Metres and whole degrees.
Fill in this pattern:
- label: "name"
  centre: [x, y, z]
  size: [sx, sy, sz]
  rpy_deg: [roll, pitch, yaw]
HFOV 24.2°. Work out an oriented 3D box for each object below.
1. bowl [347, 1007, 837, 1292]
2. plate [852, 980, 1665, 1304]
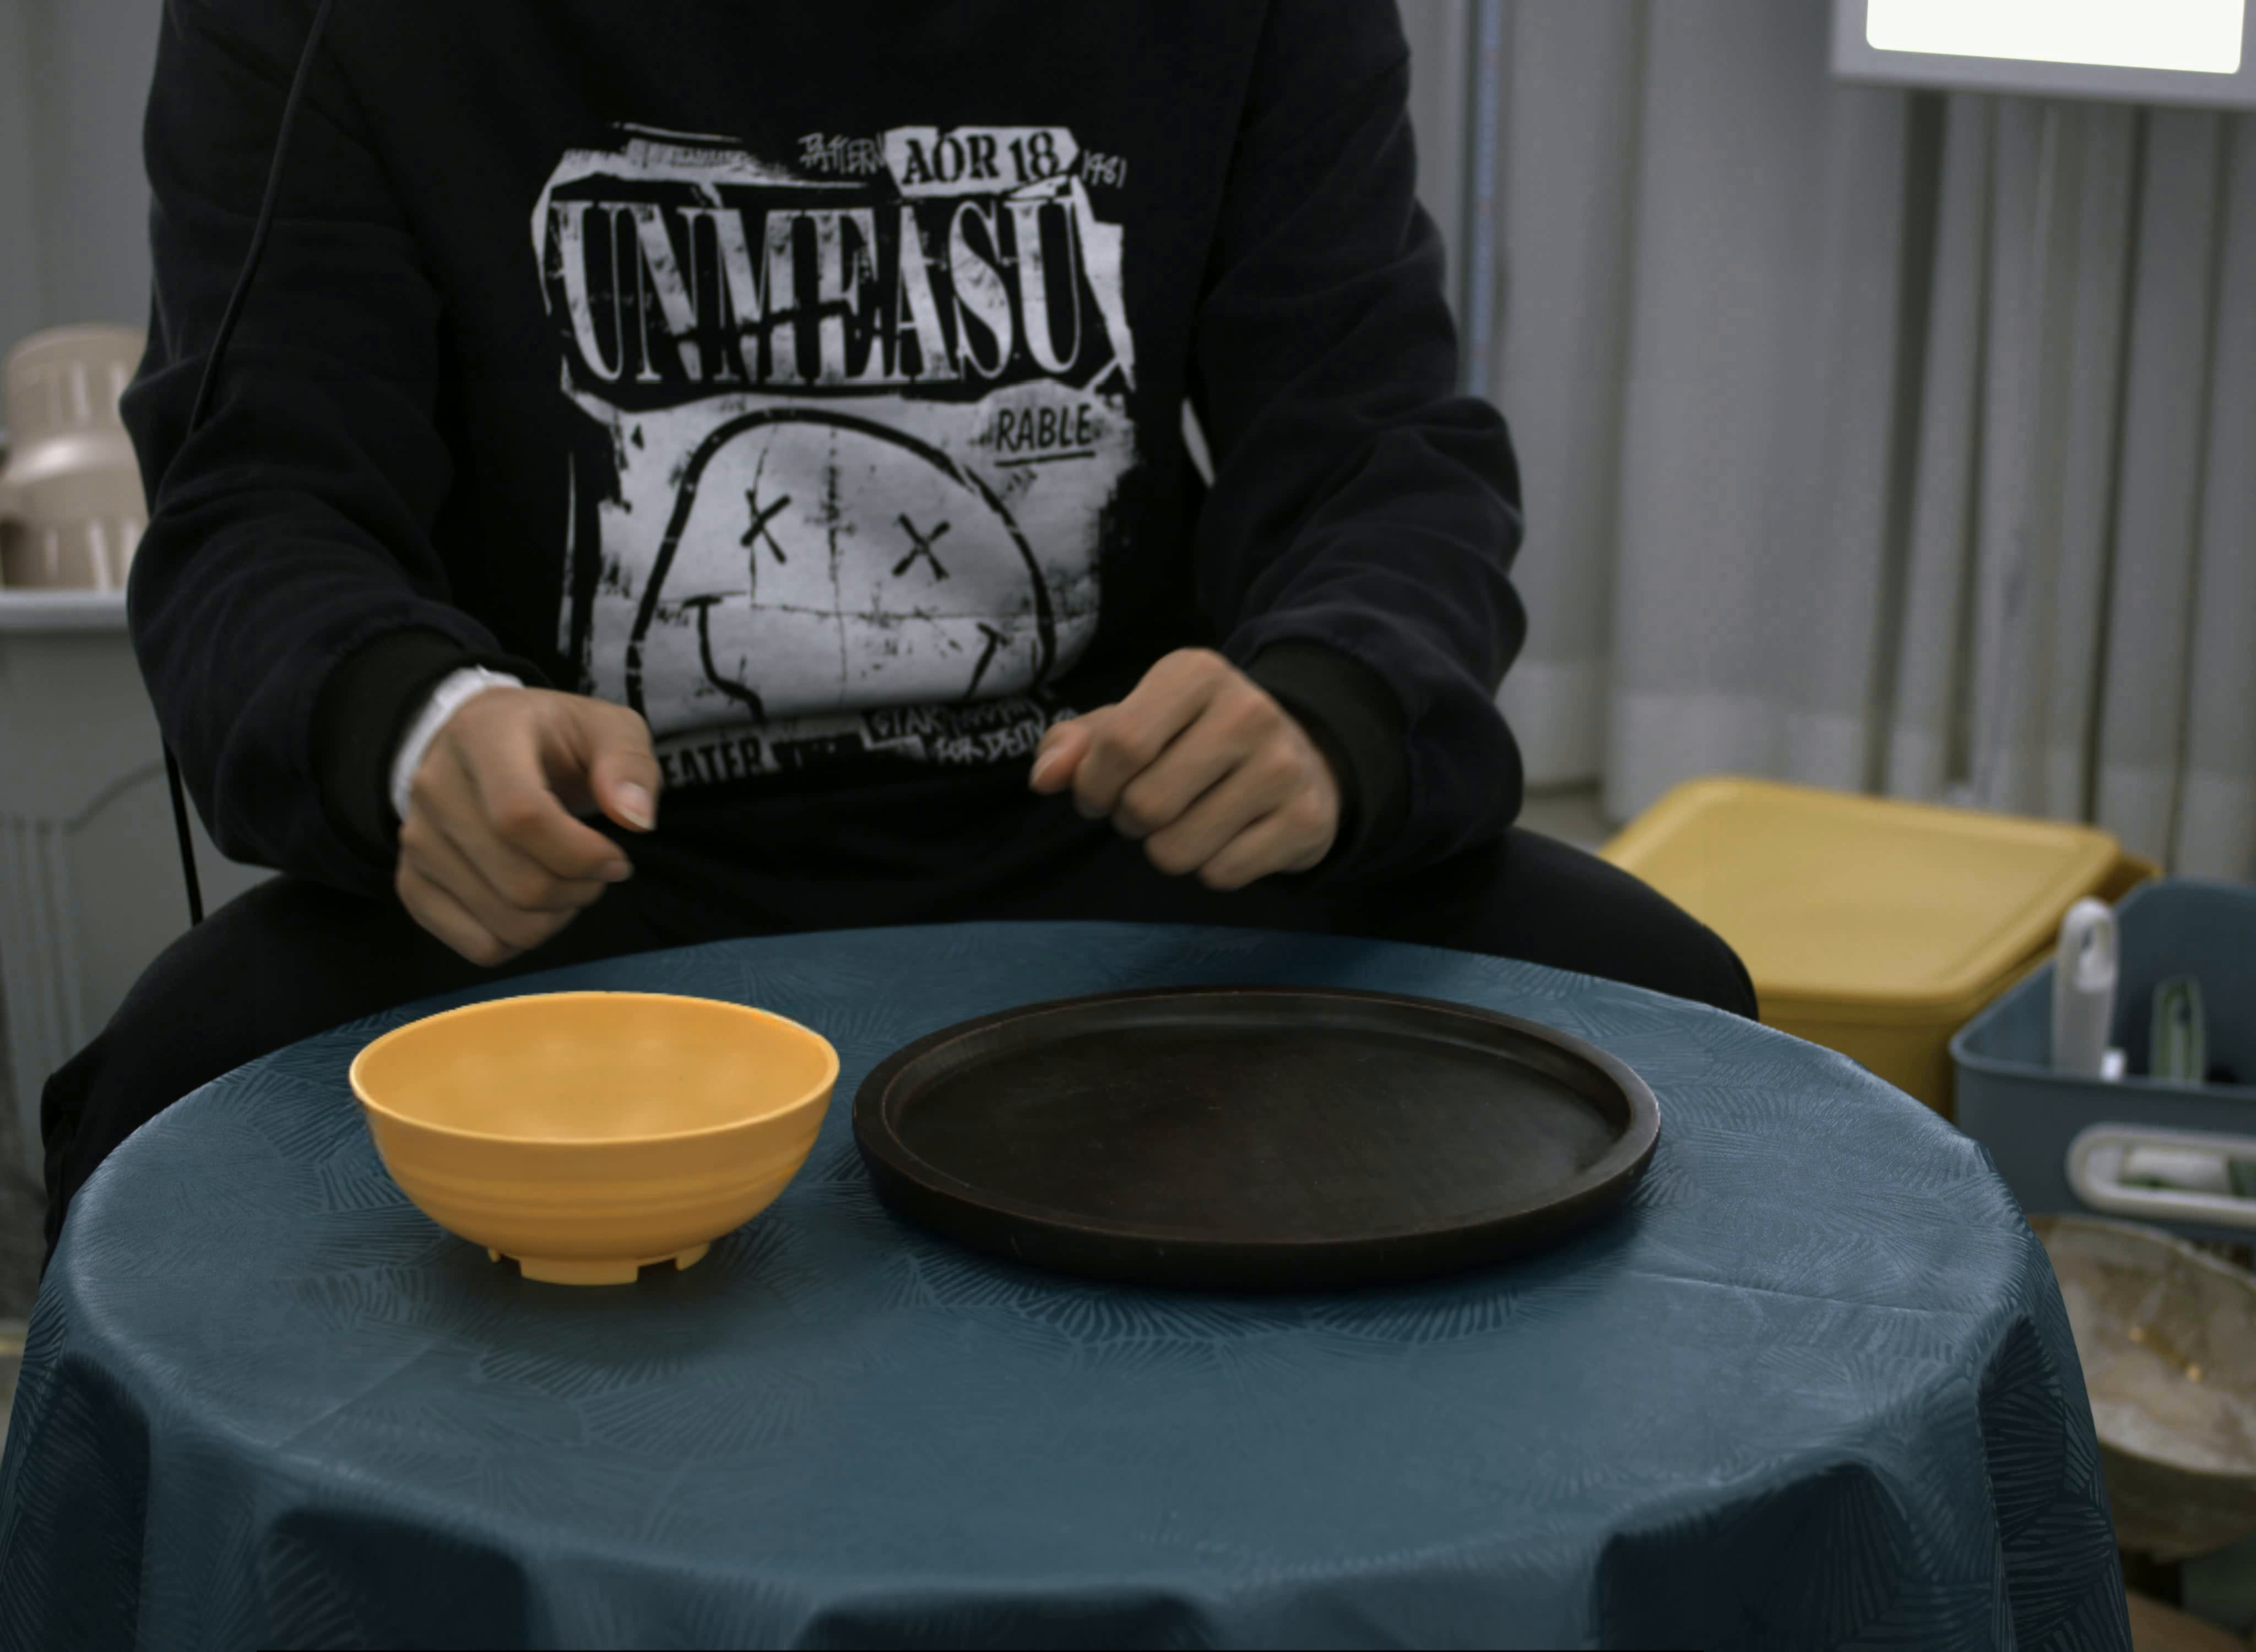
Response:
- label: "bowl"
  centre: [-0.159, 0.100, 1.563]
  size: [0.145, 0.060, 0.144]
  rpy_deg: [2, 13, 0]
- label: "plate"
  centre: [0.040, 0.096, 1.645]
  size: [0.254, 0.029, 0.253]
  rpy_deg: [-1, 16, 1]
